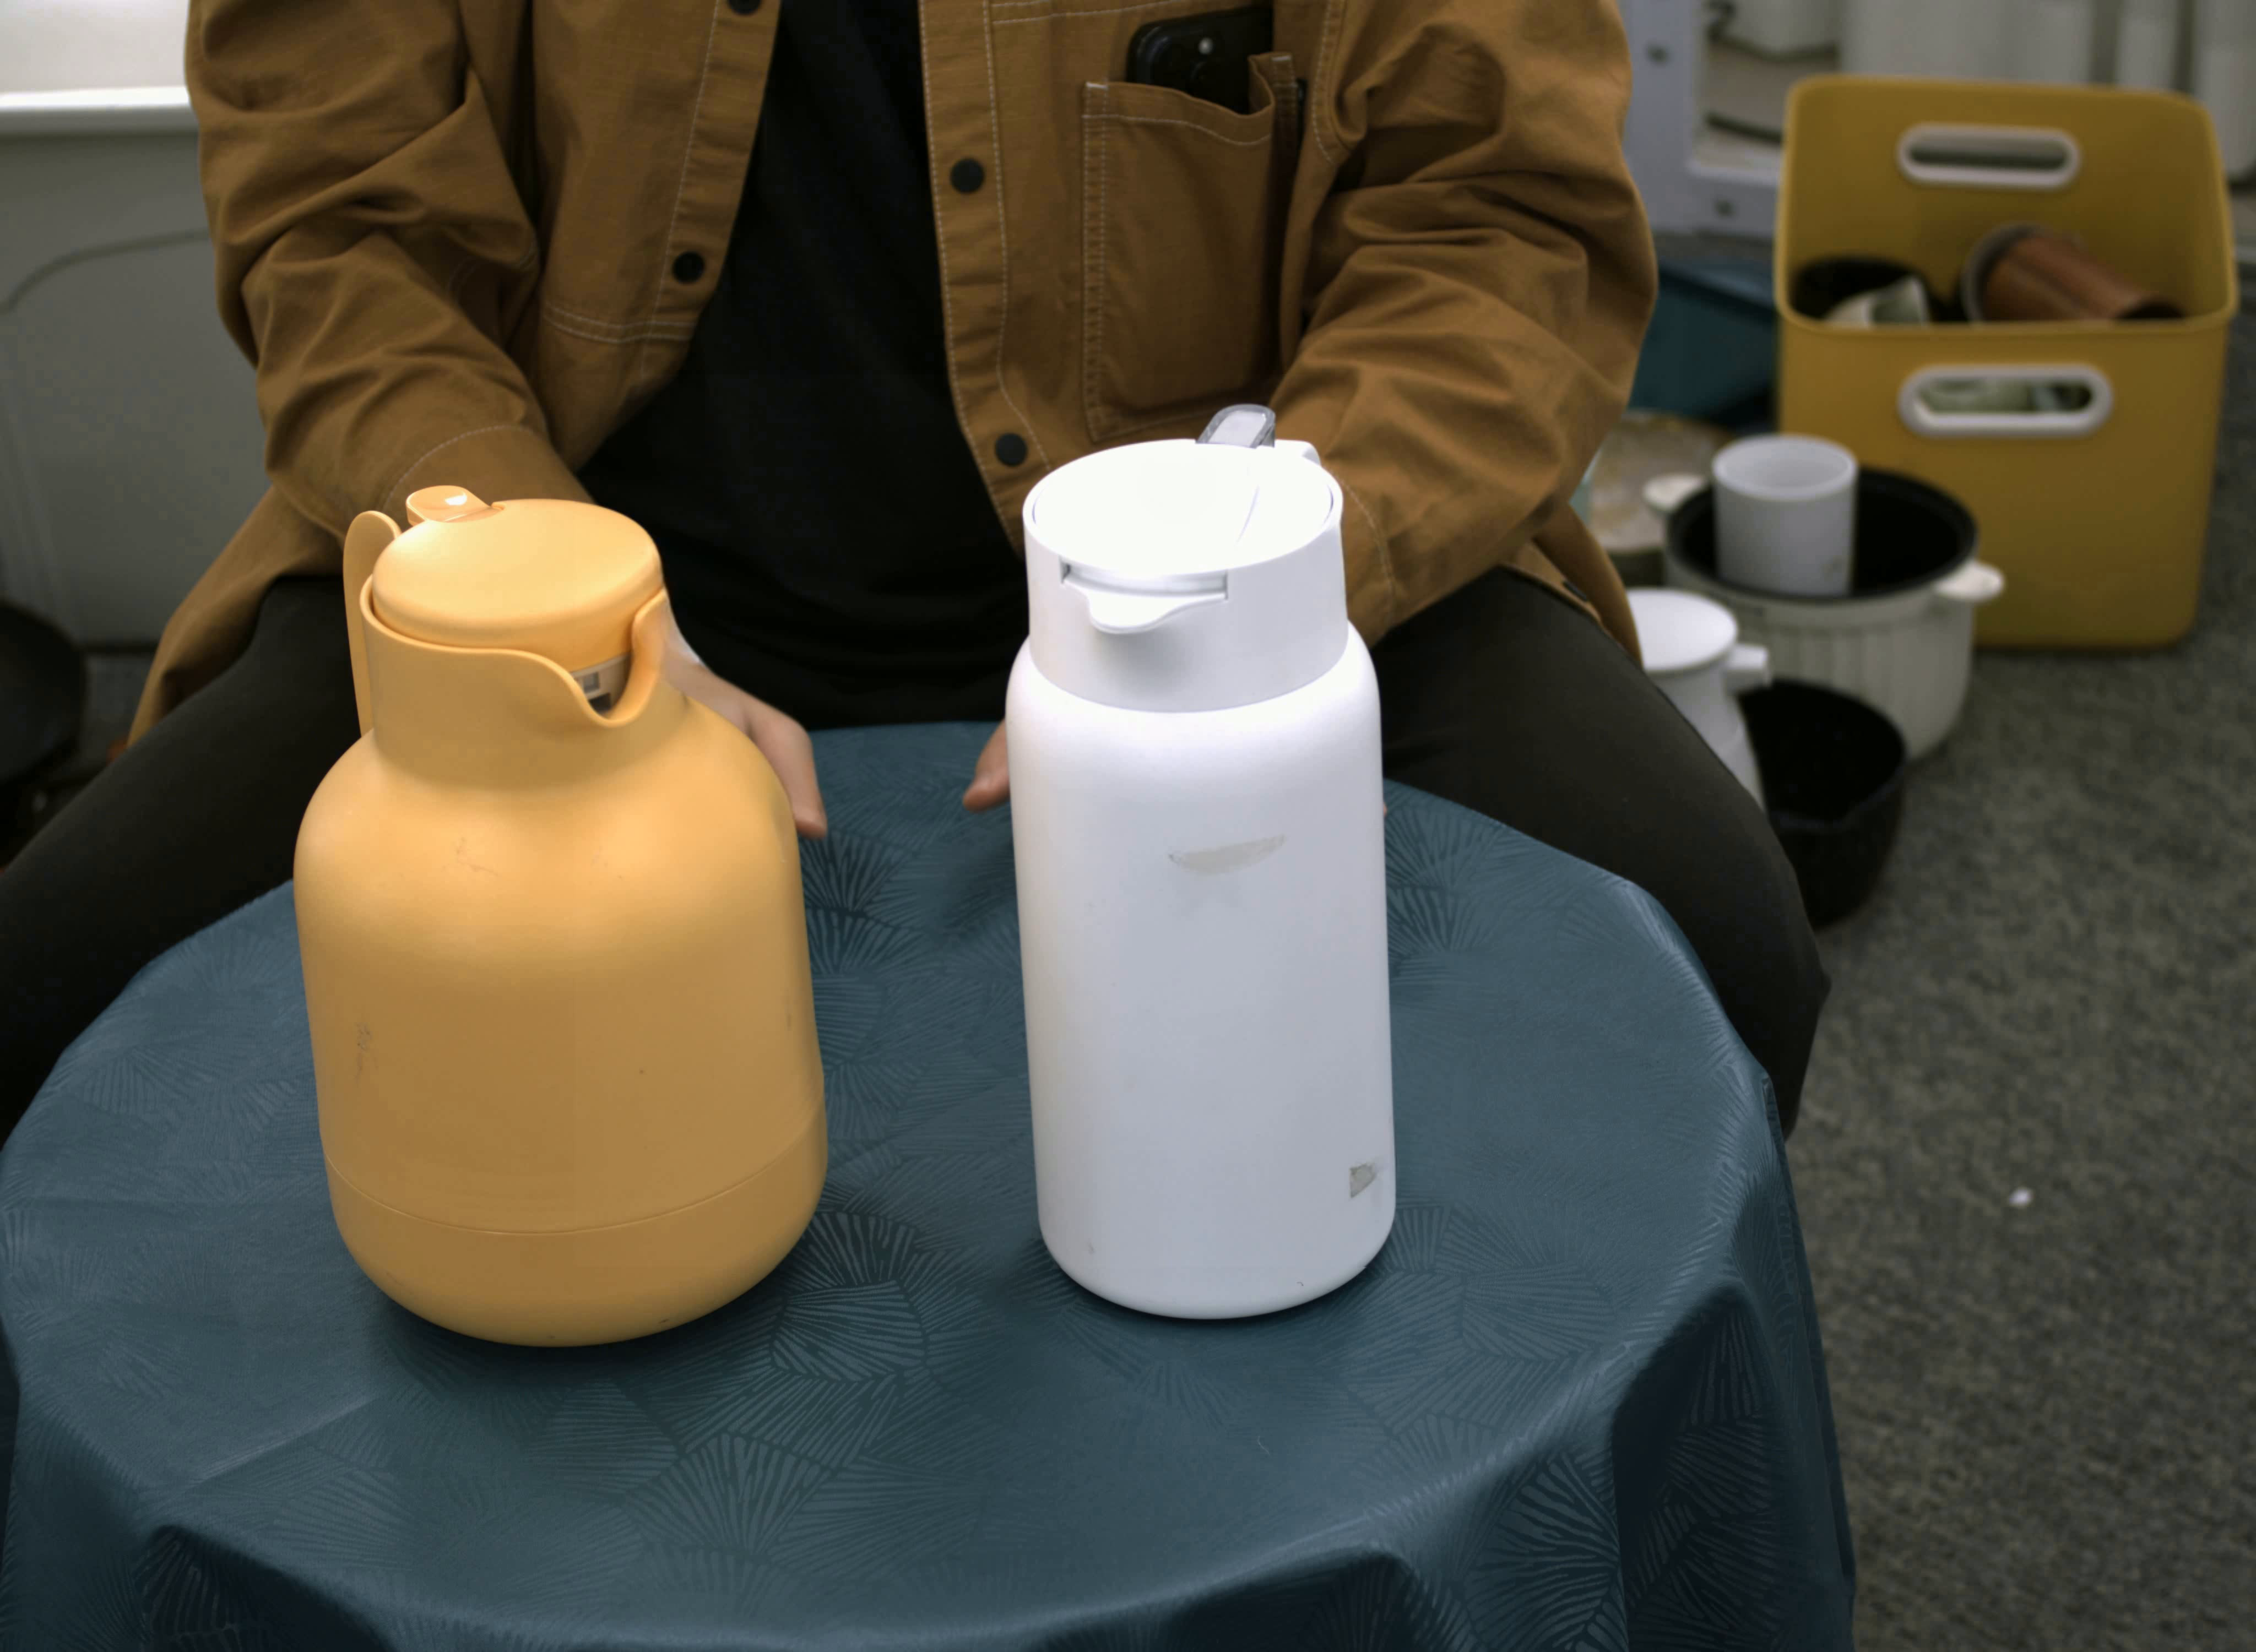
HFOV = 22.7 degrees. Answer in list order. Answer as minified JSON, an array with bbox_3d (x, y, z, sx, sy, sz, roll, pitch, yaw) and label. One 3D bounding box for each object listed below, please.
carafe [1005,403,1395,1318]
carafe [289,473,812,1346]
[{"bbox_3d":[0.027,0.007,1.790,0.123,0.266,0.176,3,27,17],"label":"carafe"},{"bbox_3d":[-0.192,0.017,1.798,0.164,0.257,0.203,-13,29,-25],"label":"carafe"}]
